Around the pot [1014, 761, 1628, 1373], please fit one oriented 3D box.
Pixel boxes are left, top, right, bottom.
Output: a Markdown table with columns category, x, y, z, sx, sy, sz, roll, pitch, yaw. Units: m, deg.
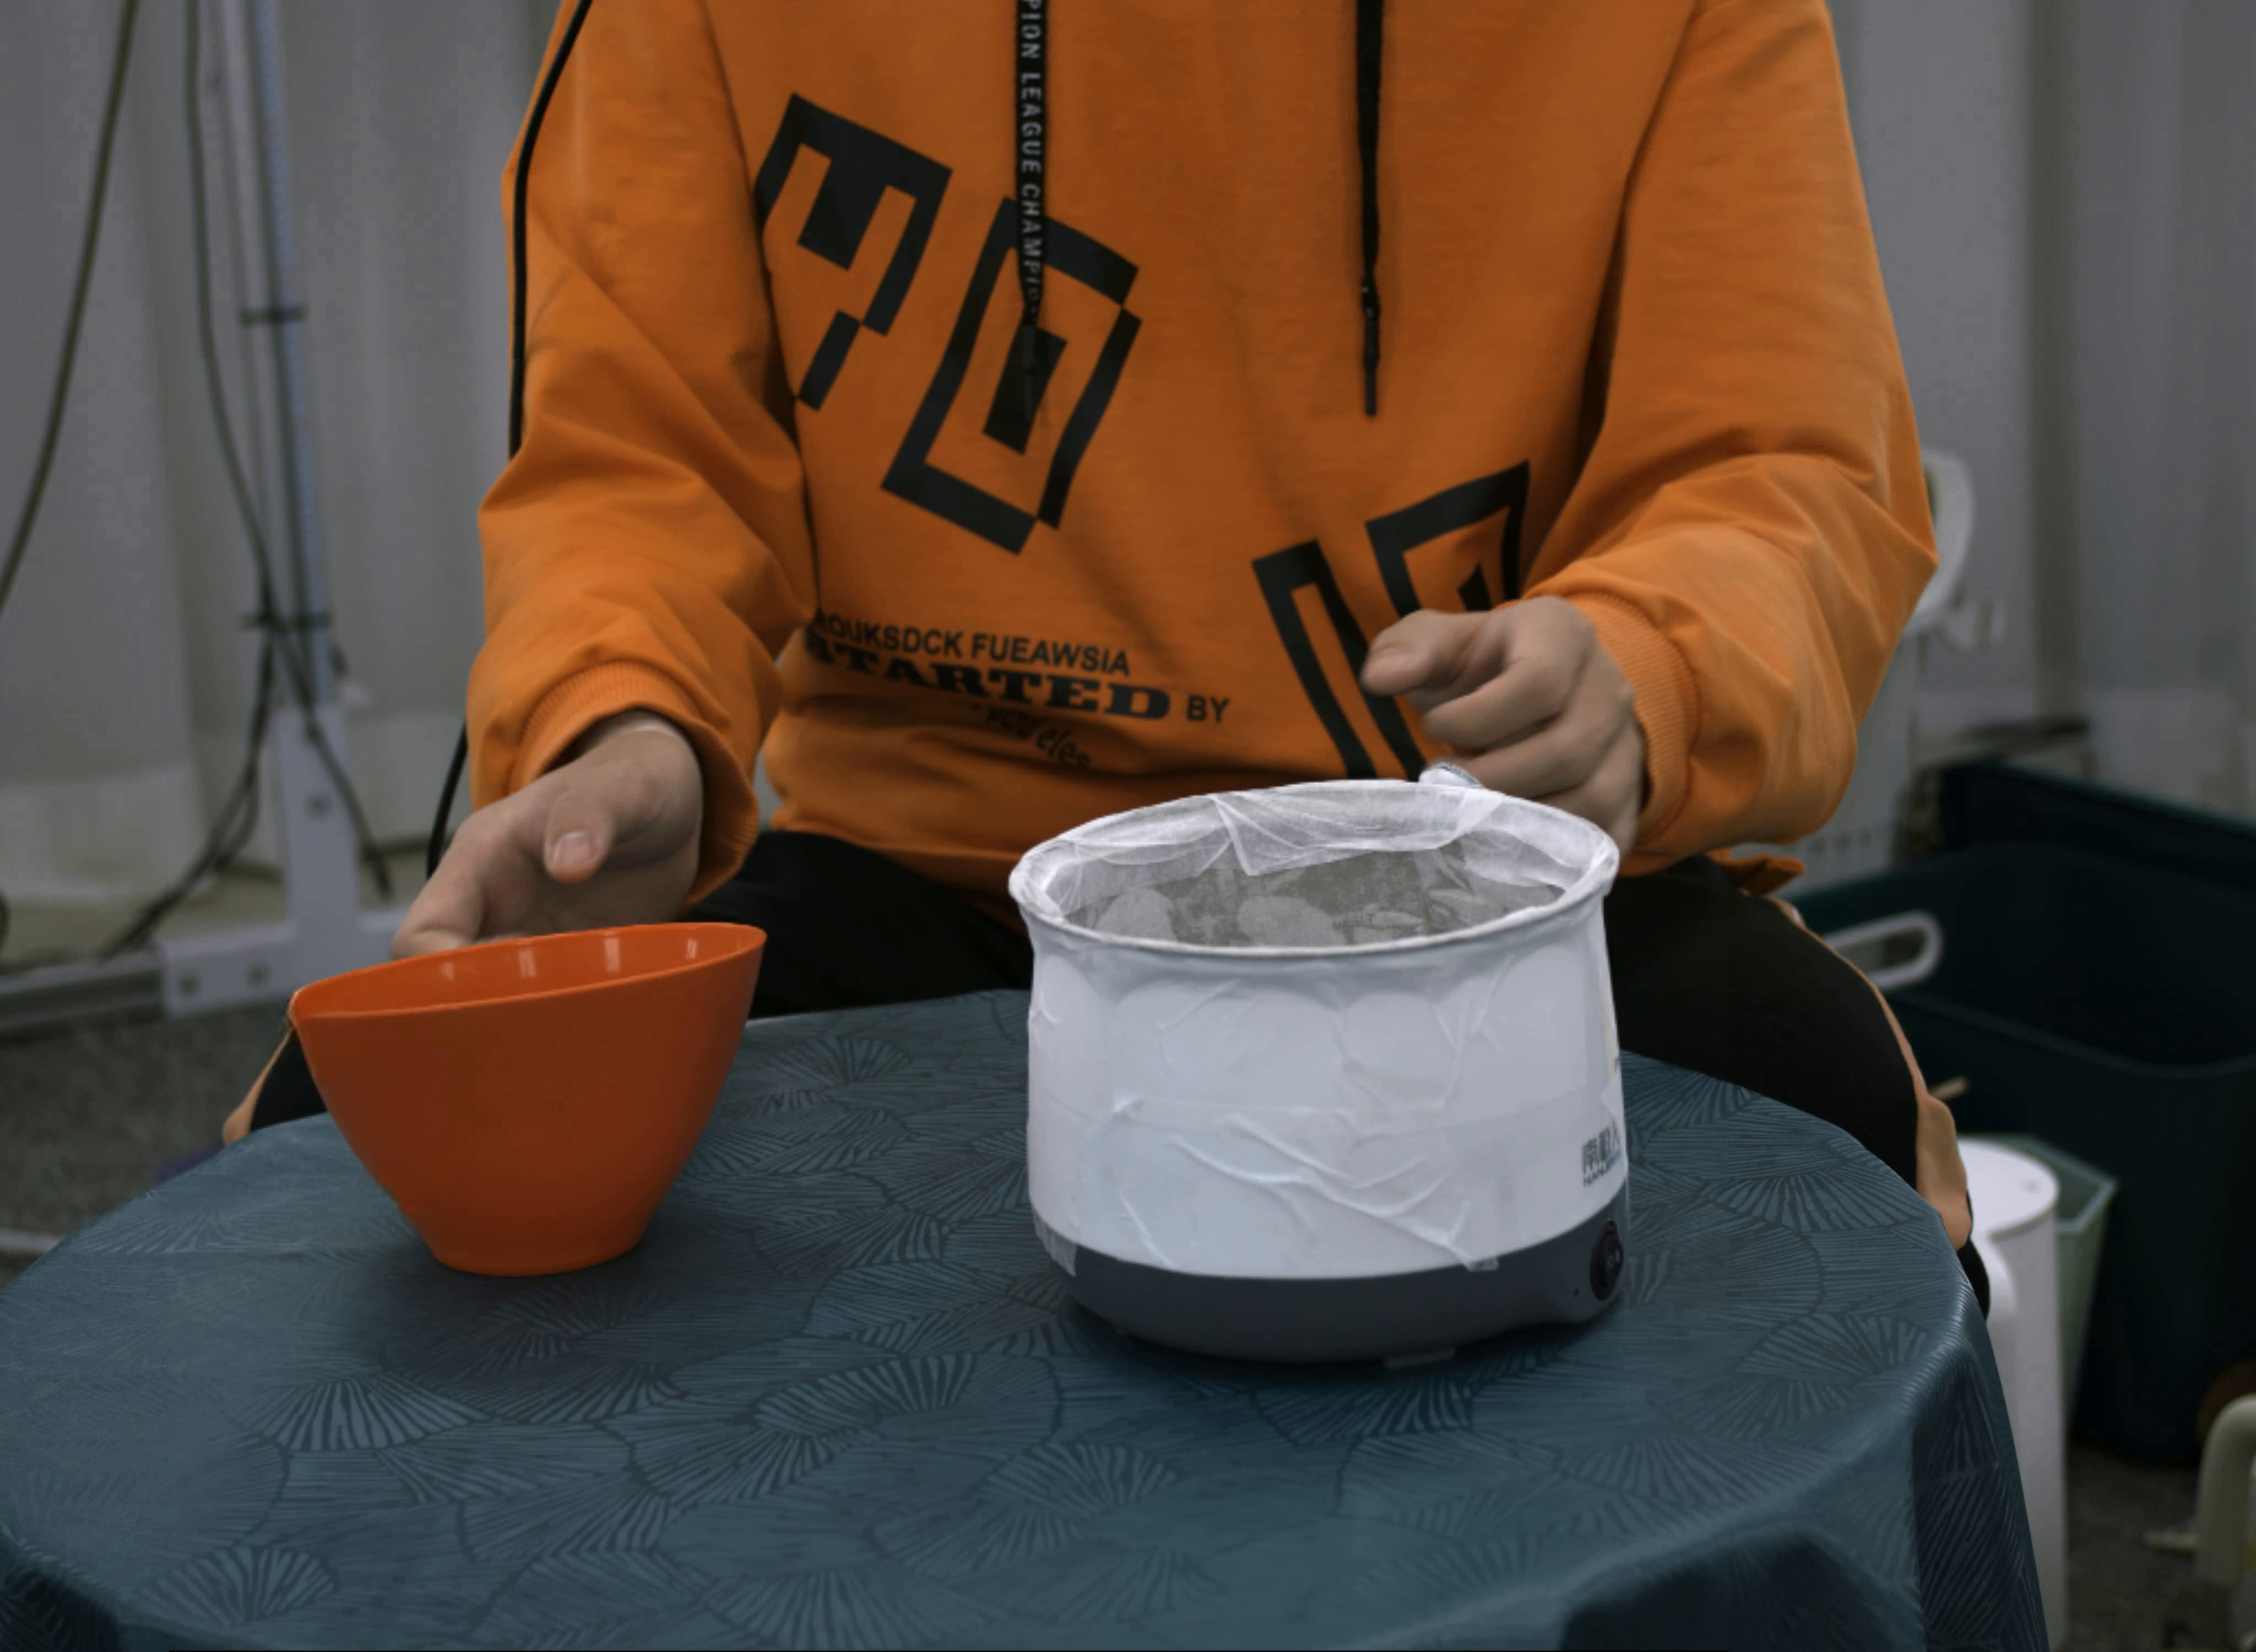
| category | x | y | z | sx | sy | sz | roll | pitch | yaw |
| --- | --- | --- | --- | --- | --- | --- | --- | --- | --- |
| pot | 0.069 | 0.065 | 1.625 | 0.179 | 0.136 | 0.234 | 4 | 17 | 24 |

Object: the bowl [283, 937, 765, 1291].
| category | x | y | z | sx | sy | sz | roll | pitch | yaw |
| --- | --- | --- | --- | --- | --- | --- | --- | --- | --- |
| bowl | -0.182 | 0.086 | 1.676 | 0.147 | 0.104 | 0.149 | -3 | 13 | 0 |
